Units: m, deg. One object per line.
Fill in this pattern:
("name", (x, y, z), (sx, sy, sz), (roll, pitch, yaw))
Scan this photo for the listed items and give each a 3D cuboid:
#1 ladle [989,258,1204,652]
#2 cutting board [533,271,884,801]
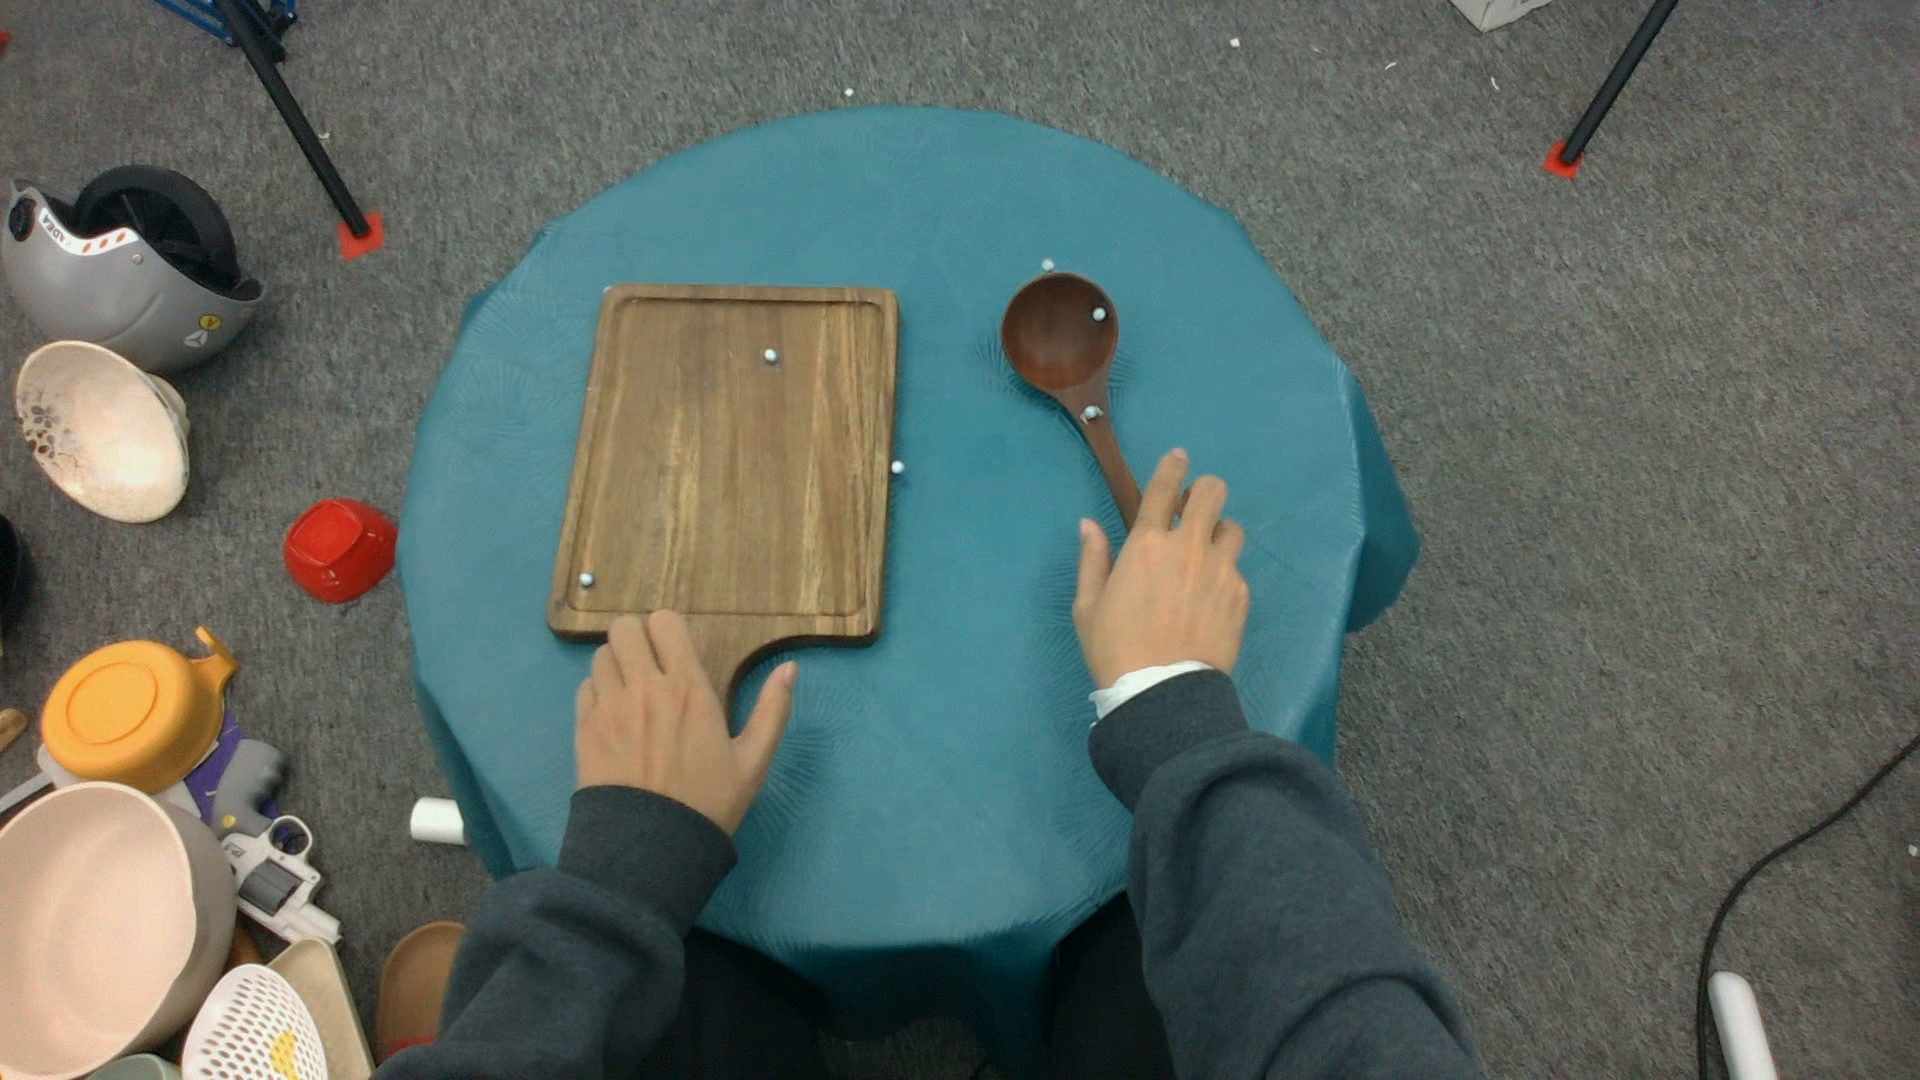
("ladle", (0.086, -0.055, 0.830), (0.076, 0.065, 0.261), (-24, 65, 10))
("cutting board", (-0.150, -0.017, 0.835), (0.201, 0.023, 0.353), (1, 64, 1))
